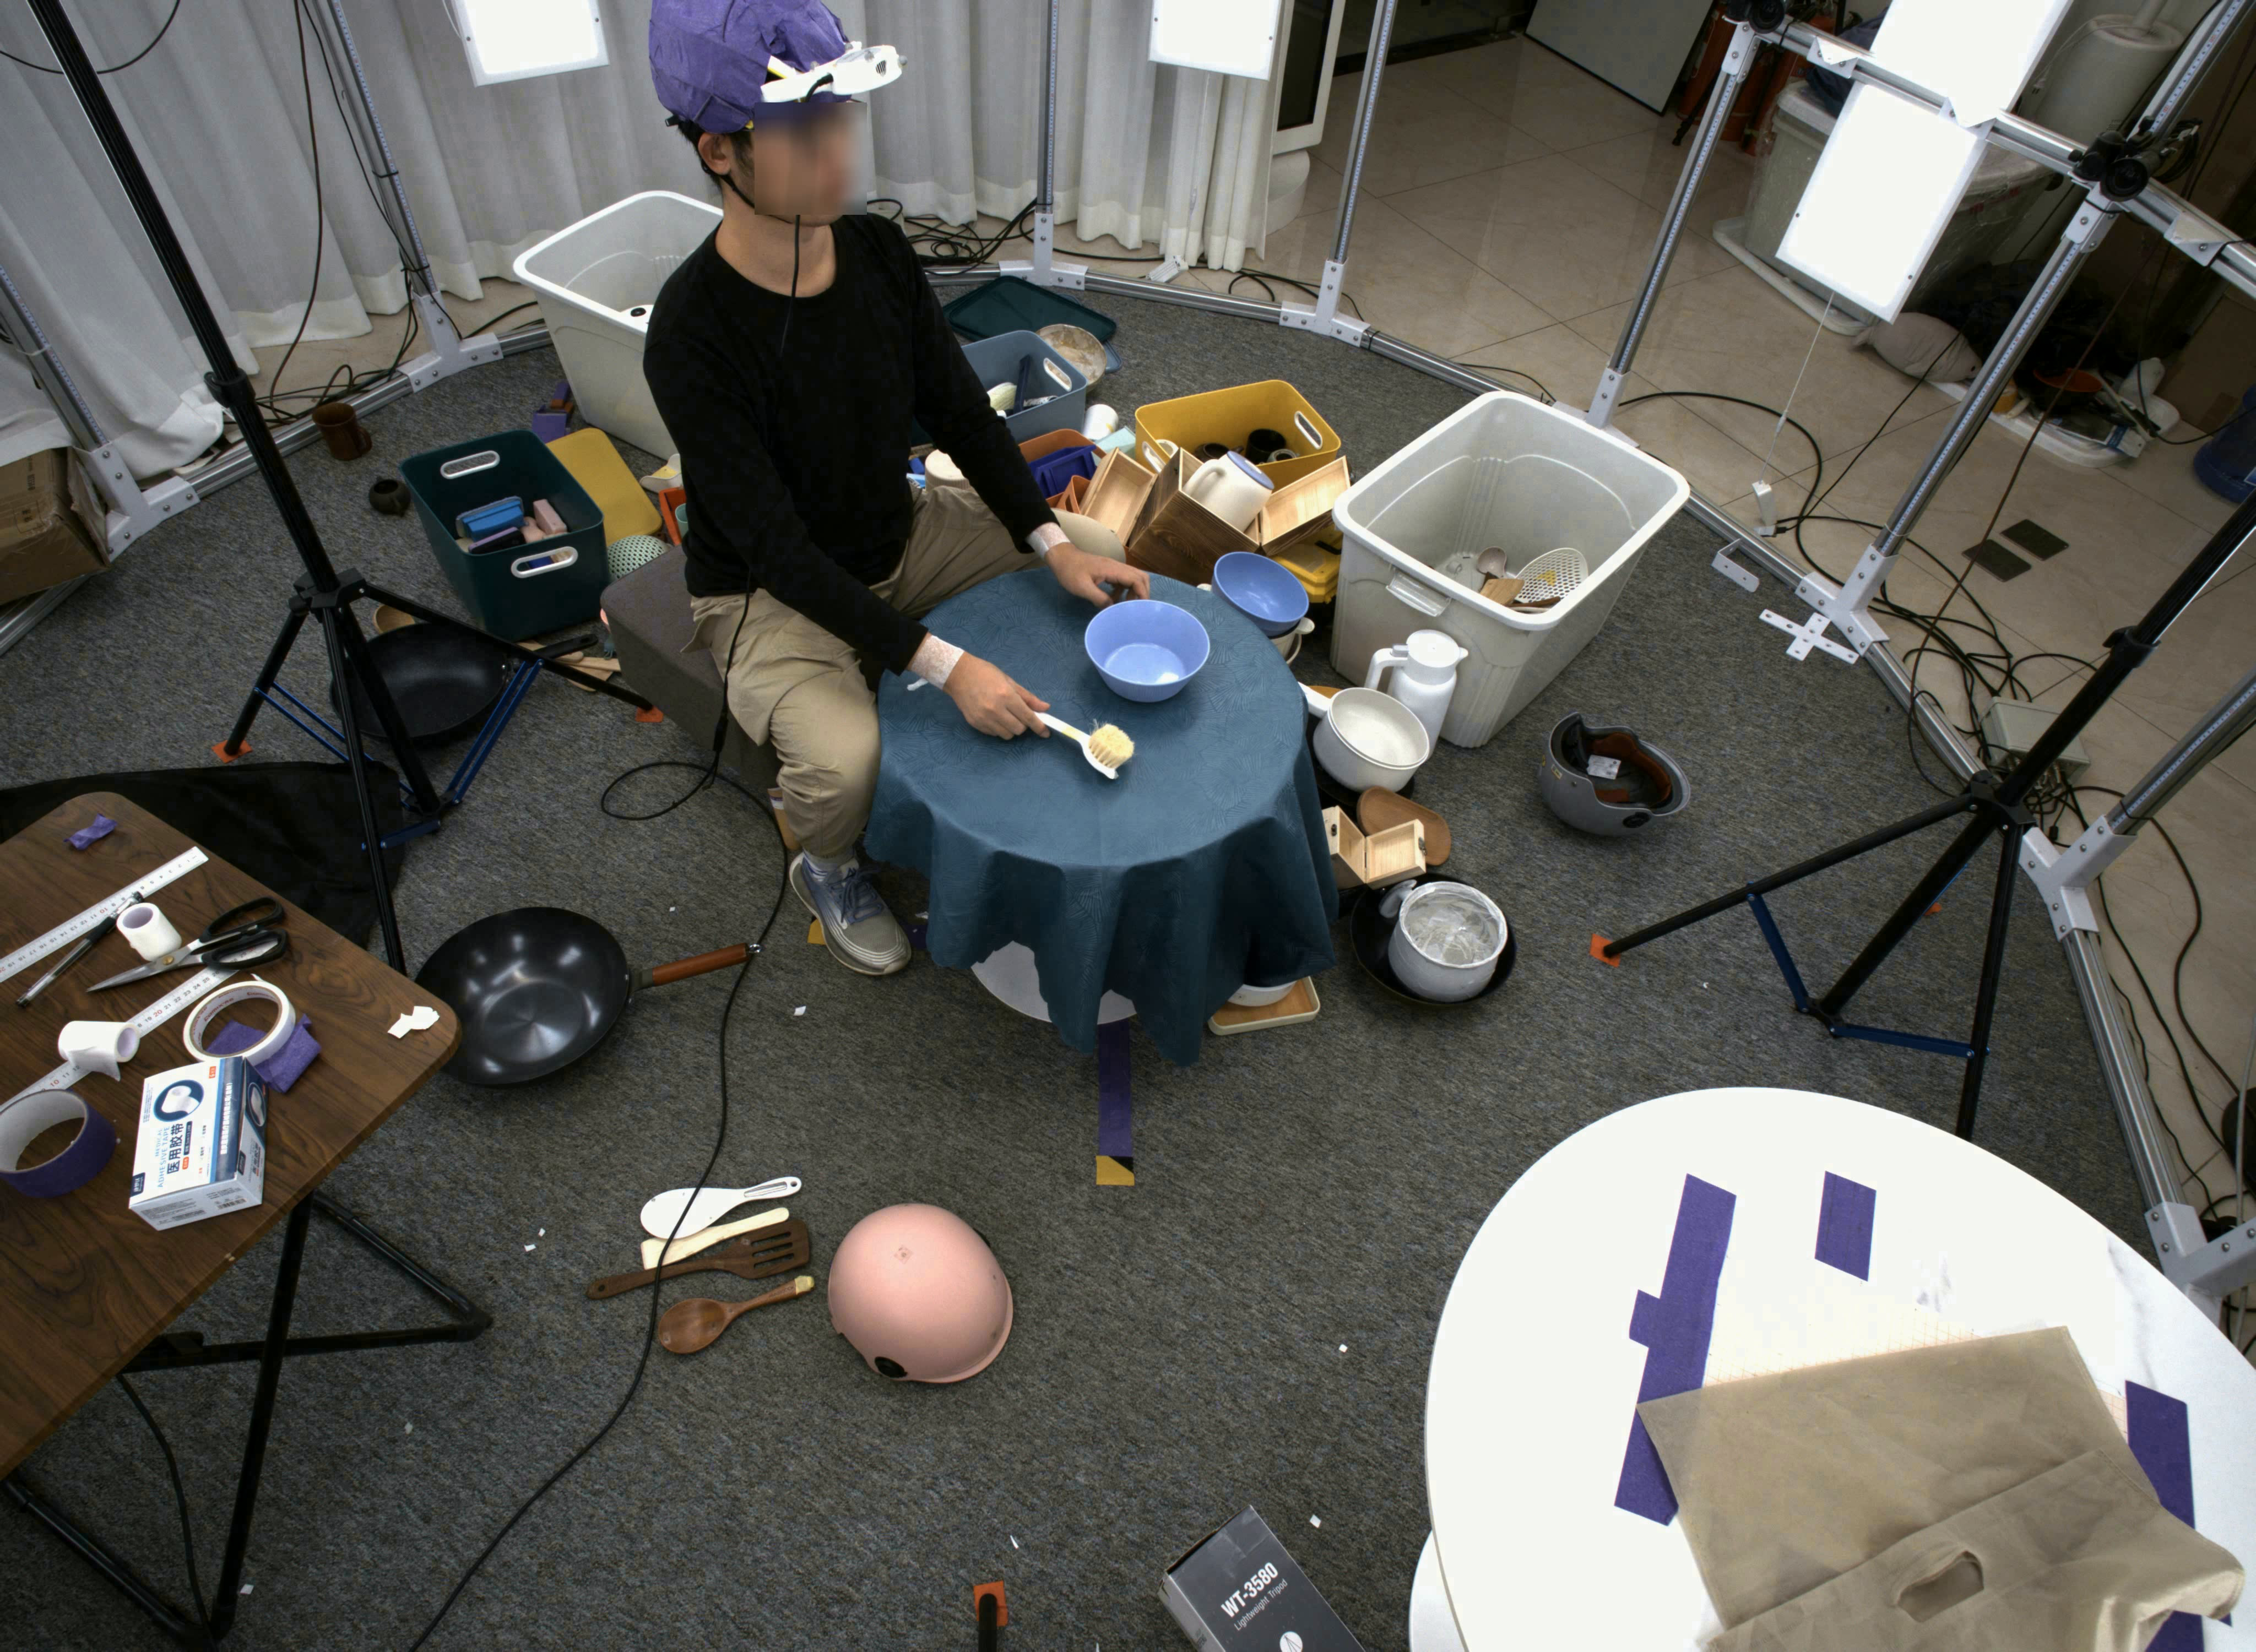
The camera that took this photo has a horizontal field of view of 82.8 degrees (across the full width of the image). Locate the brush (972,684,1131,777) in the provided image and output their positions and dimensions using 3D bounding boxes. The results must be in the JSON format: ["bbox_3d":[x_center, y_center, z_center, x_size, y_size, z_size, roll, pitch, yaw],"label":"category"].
[{"bbox_3d":[-0.106,-0.152,1.753,0.270,0.055,0.068,34,18,26],"label":"brush"}]

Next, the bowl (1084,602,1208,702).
[{"bbox_3d":[0.024,-0.240,1.834,0.176,0.068,0.180,2,48,-2],"label":"bowl"}]
